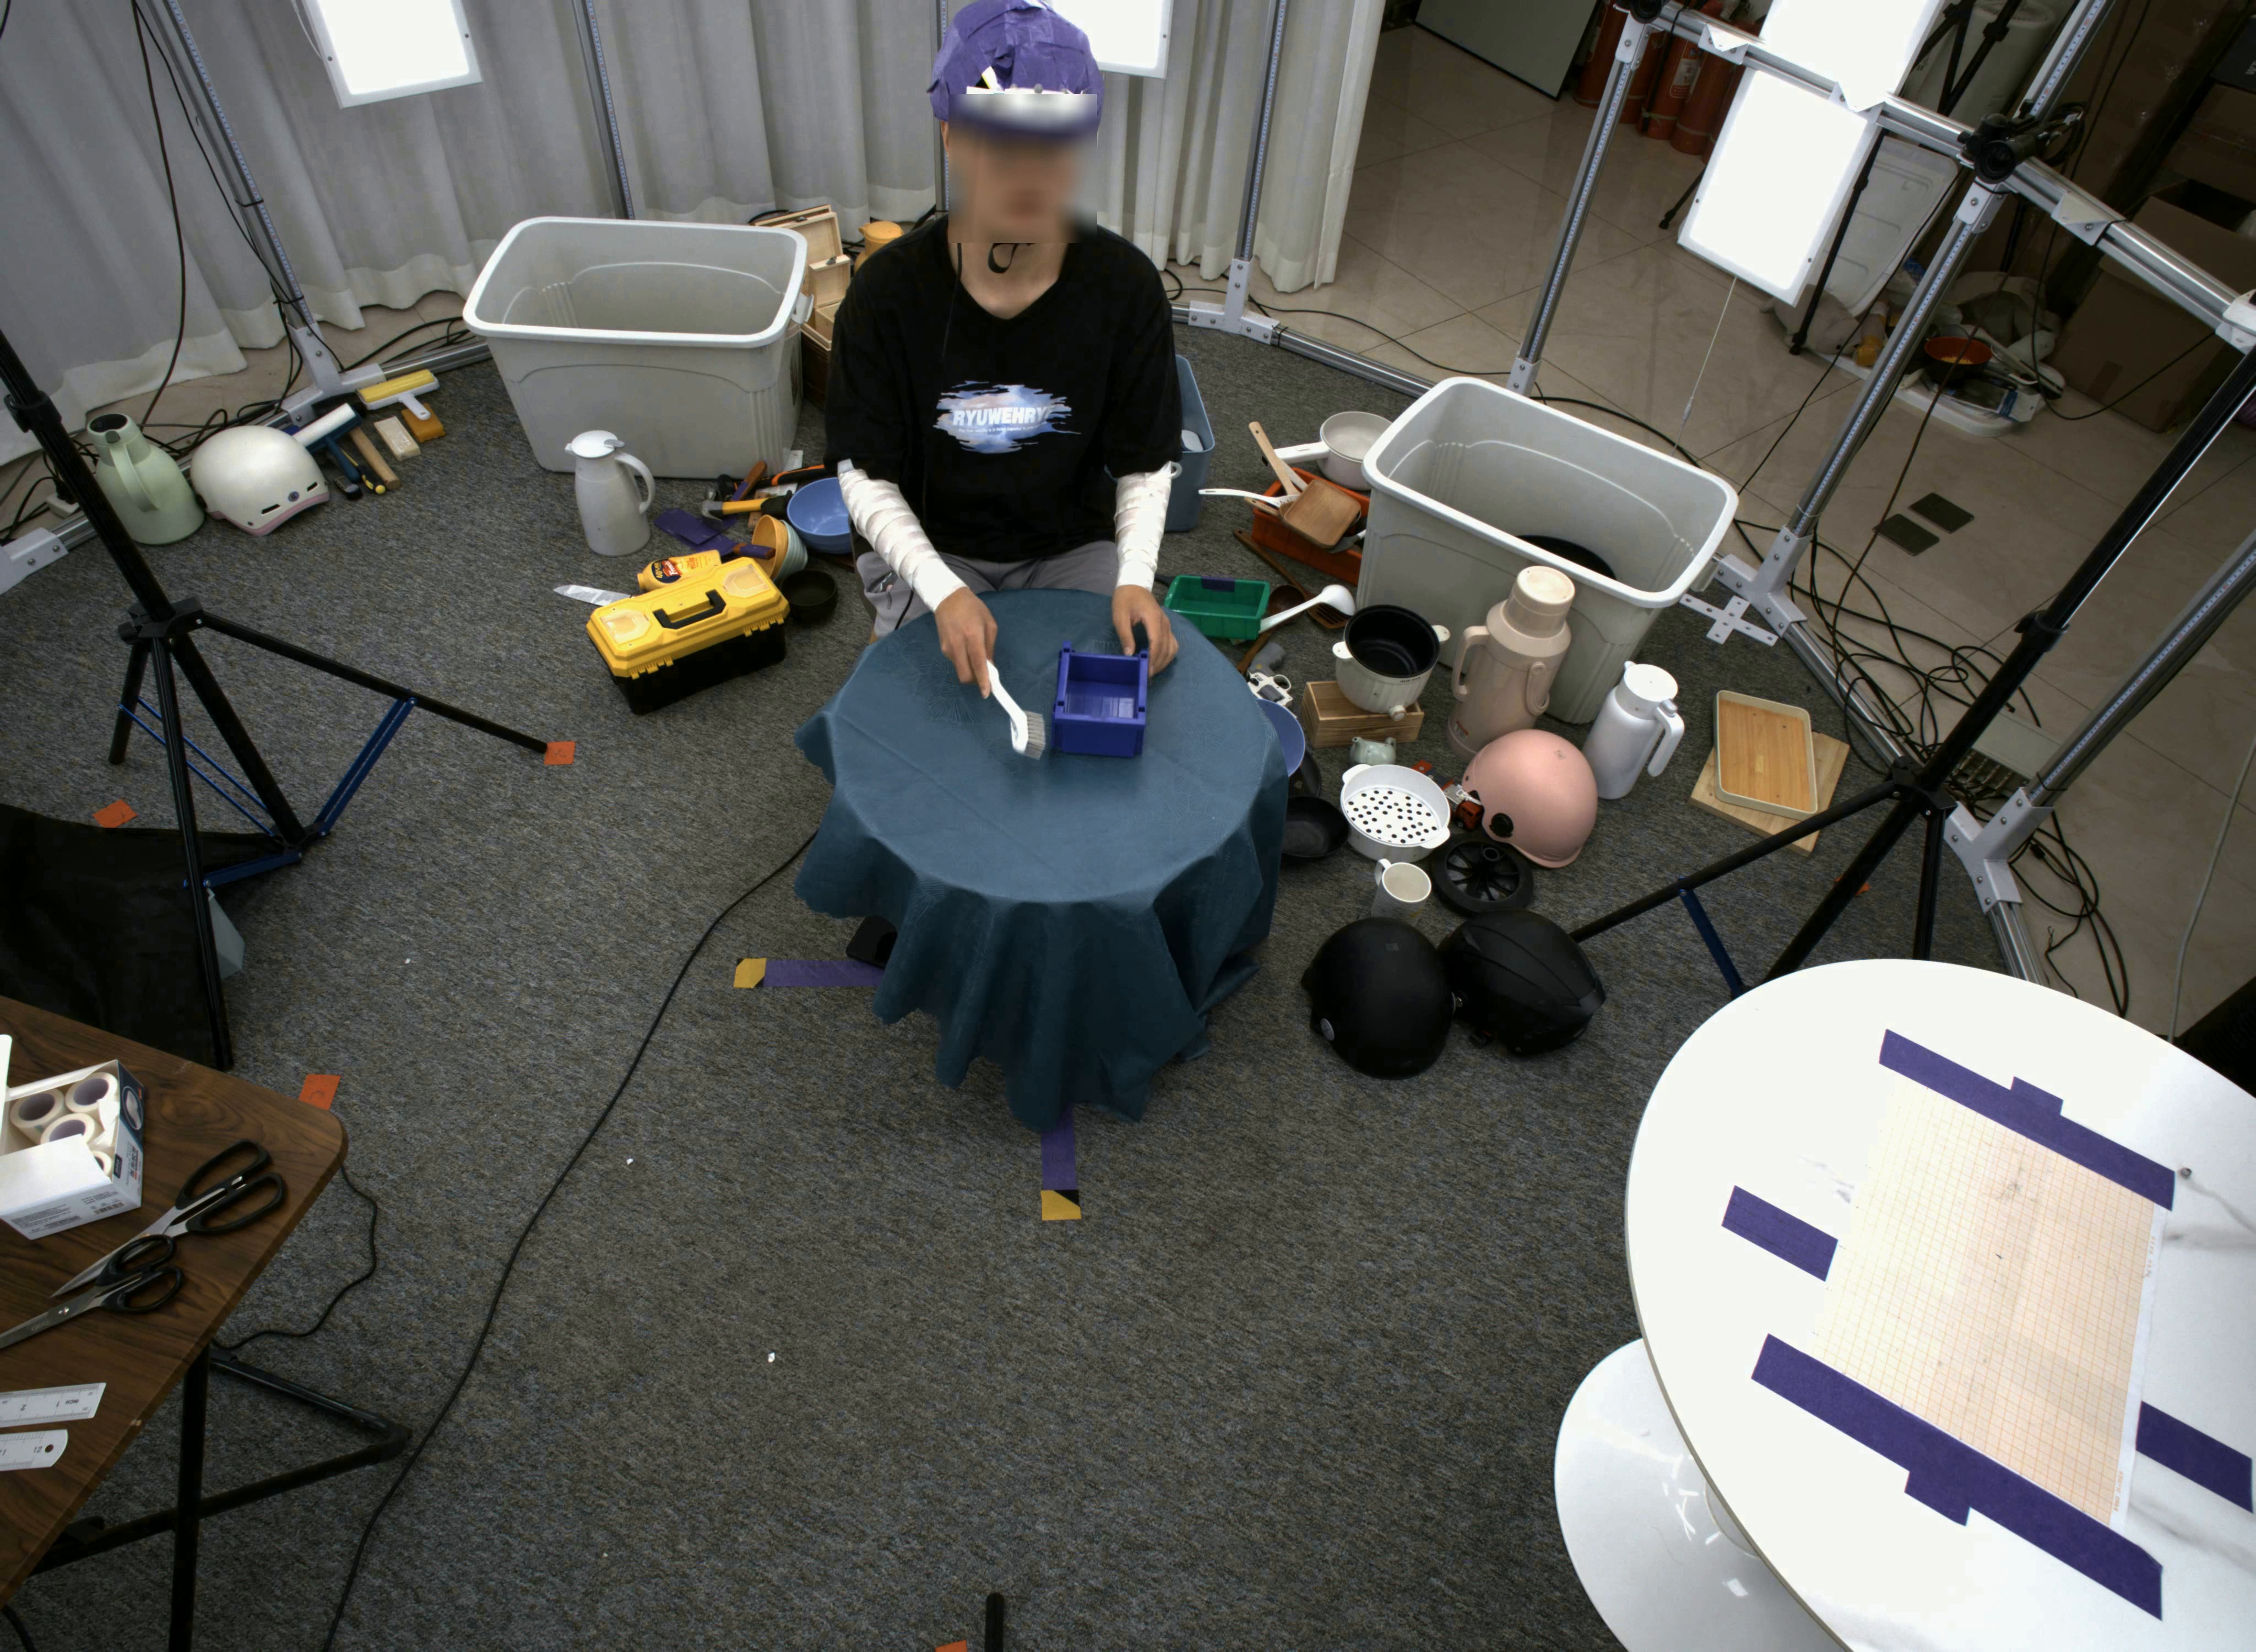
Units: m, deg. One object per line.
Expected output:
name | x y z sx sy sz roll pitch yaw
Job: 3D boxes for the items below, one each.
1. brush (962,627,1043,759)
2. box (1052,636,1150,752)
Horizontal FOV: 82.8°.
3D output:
brush | -0.168 -0.186 1.751 0.050 0.034 0.249 -3 47 -30
box | -0.037 -0.190 1.783 0.124 0.080 0.184 5 51 1
